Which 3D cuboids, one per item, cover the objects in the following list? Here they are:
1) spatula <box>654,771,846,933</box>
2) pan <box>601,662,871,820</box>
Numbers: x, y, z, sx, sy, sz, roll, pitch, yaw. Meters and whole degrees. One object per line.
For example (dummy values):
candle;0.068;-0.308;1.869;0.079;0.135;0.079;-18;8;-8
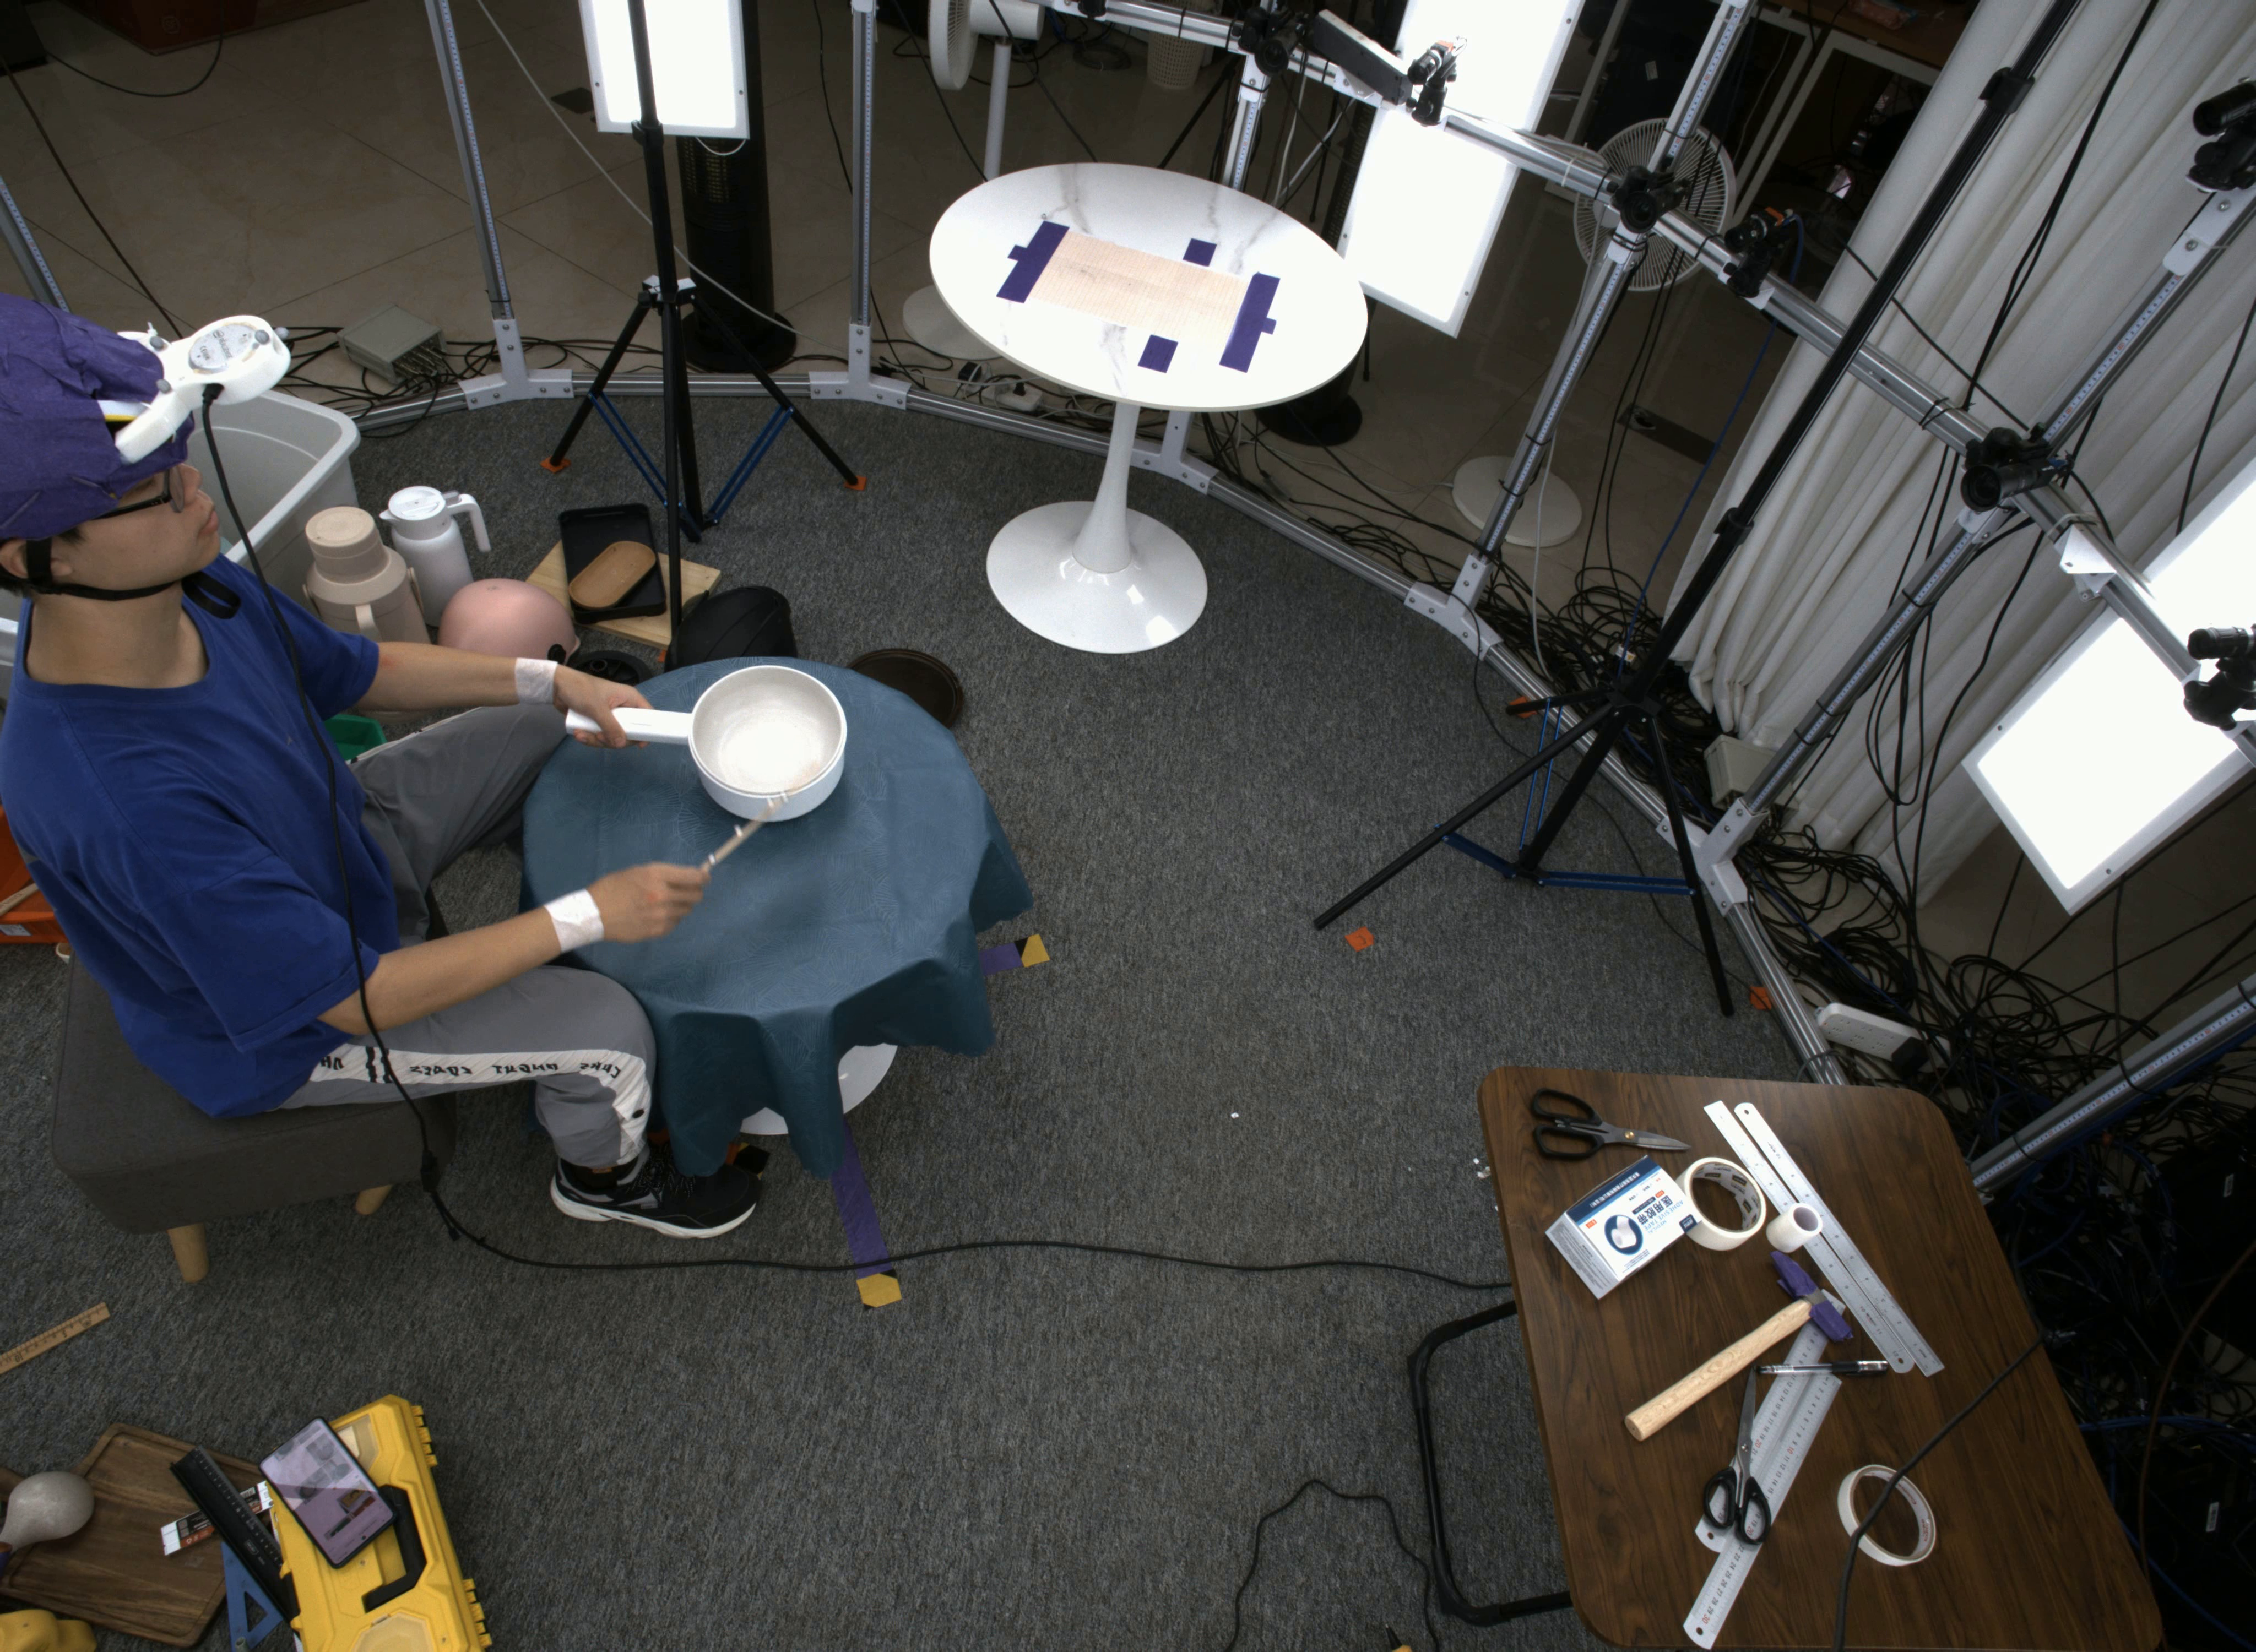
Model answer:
spatula;-0.453;0.028;1.555;0.293;0.071;0.011;-42;102;-19
pan;-0.522;-0.116;1.722;0.354;0.103;0.199;6;63;-11
